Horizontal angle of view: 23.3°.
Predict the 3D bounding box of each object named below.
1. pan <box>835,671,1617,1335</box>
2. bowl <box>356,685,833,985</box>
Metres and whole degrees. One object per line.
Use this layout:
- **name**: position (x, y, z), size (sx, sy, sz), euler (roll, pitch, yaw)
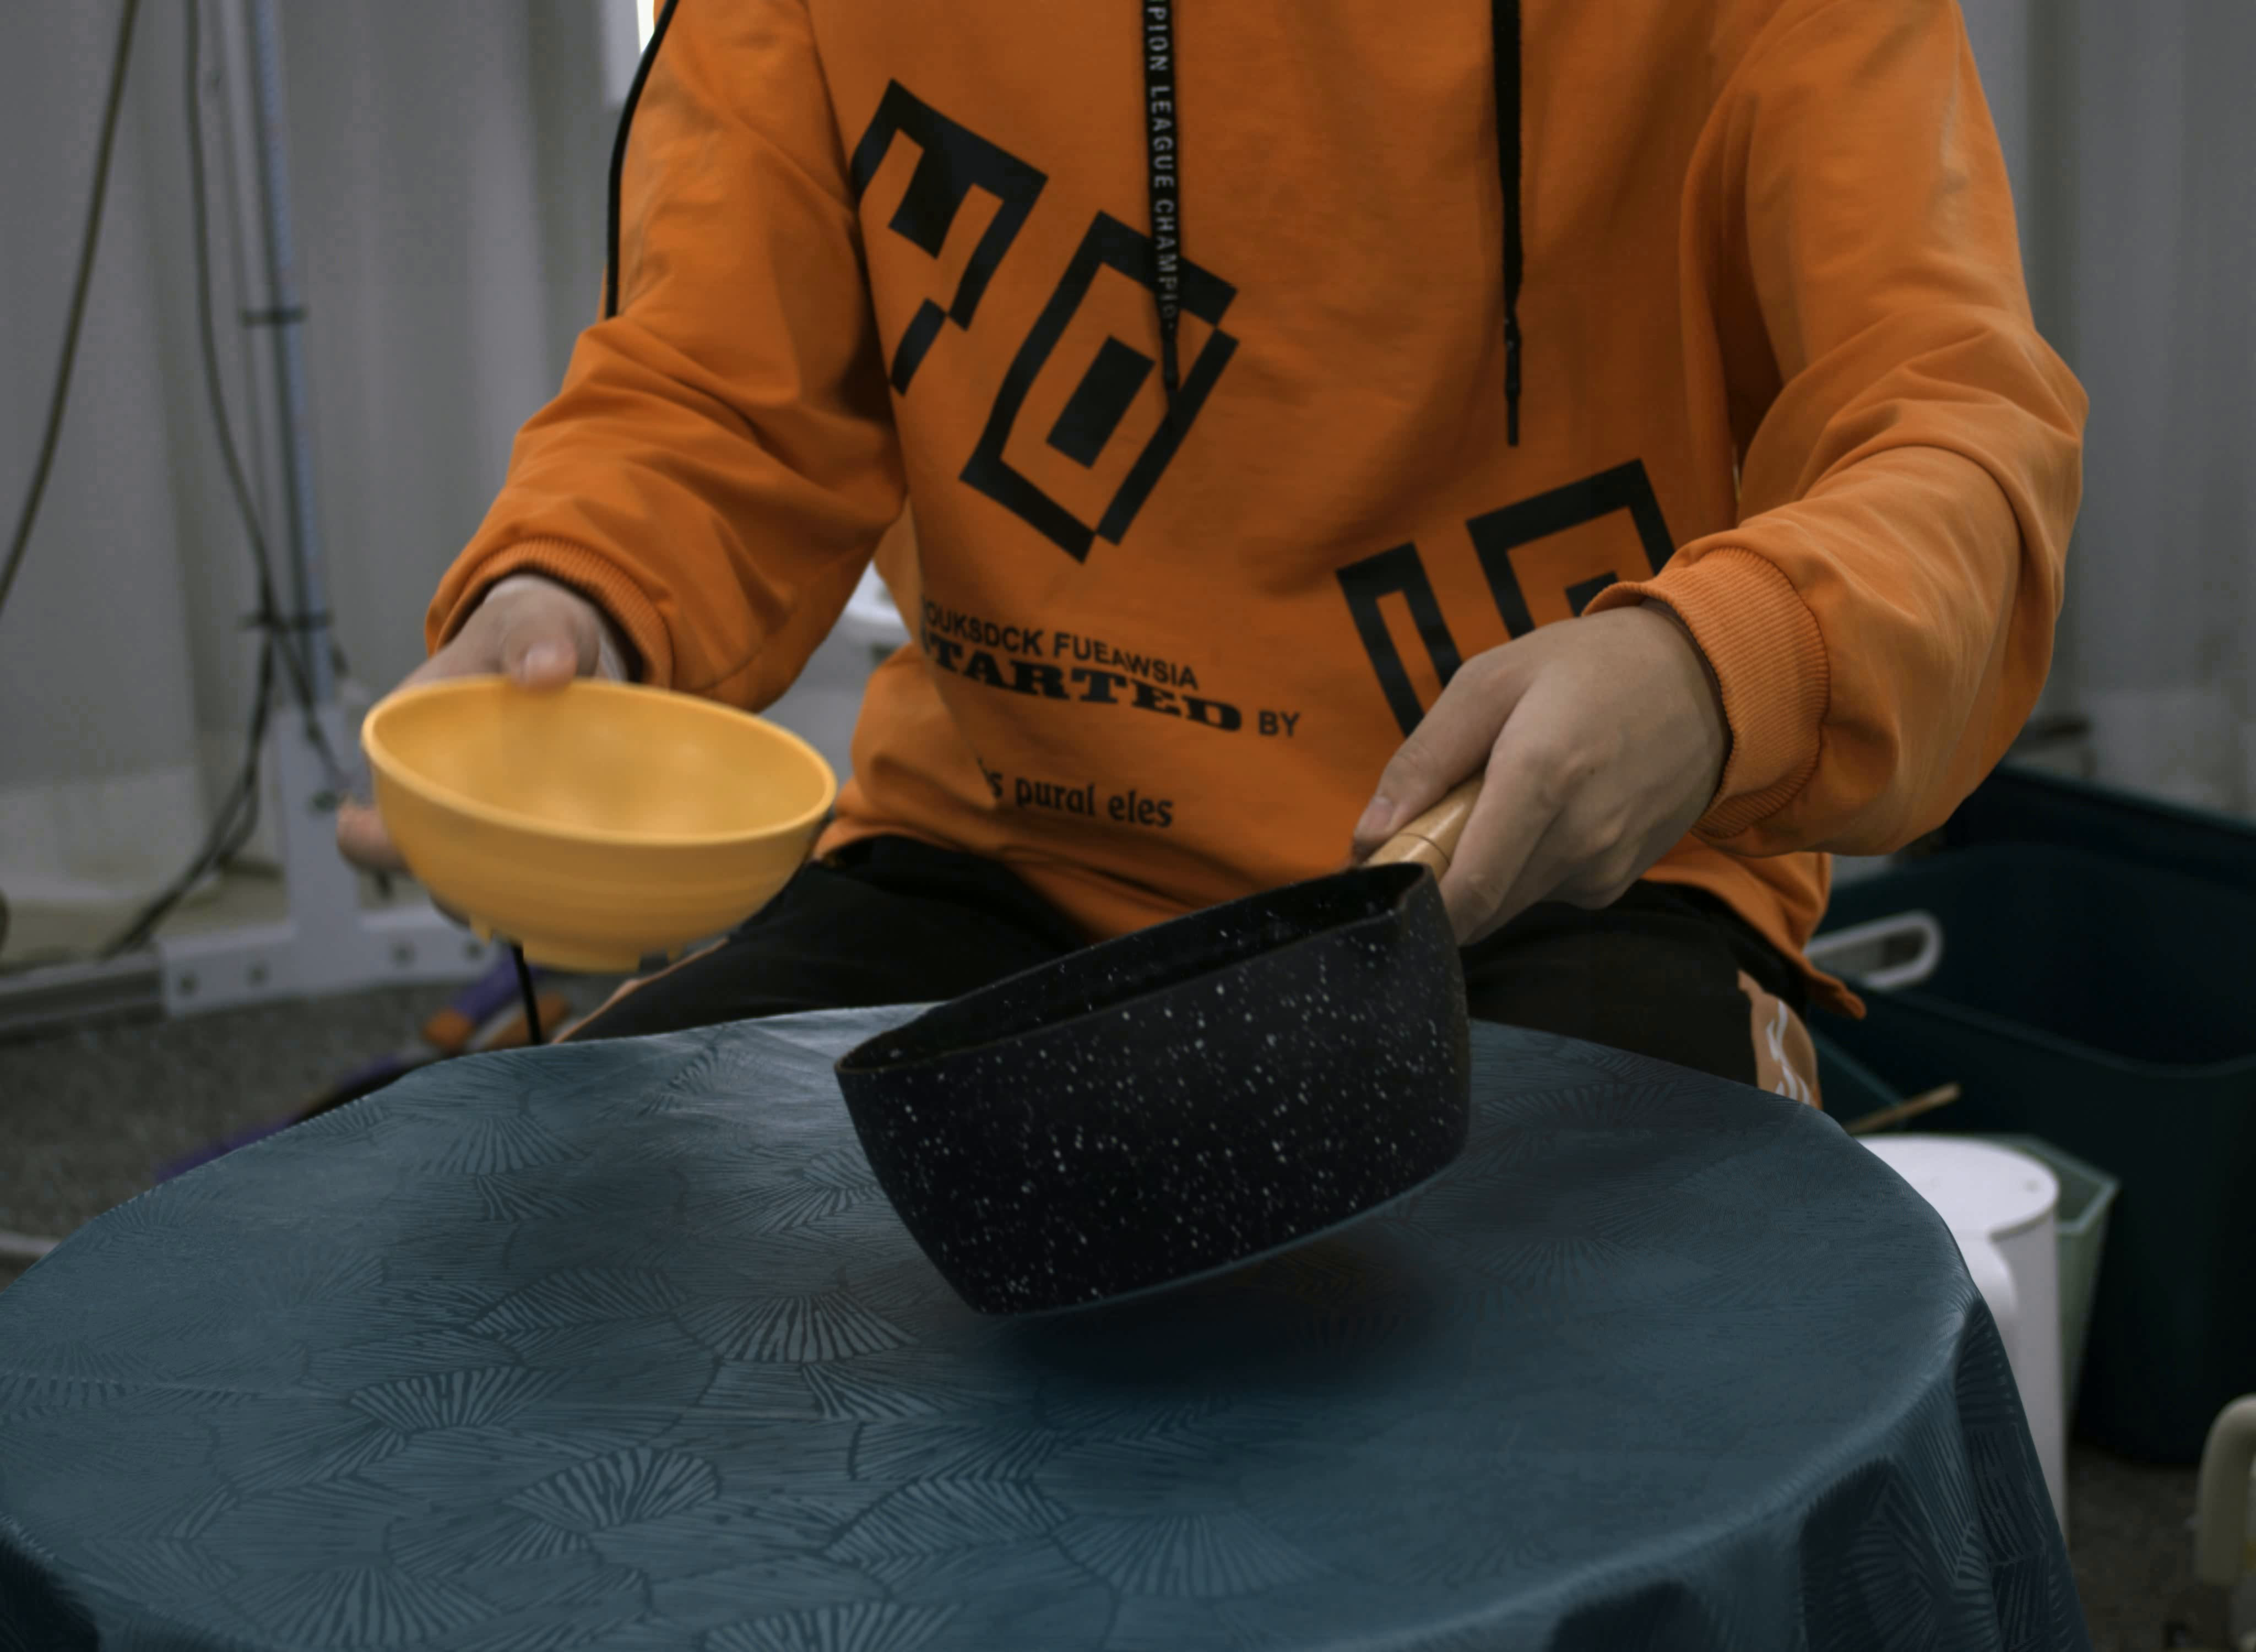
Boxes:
- **pan**: position (0.059, 0.049, 1.649), size (0.207, 0.108, 0.343), euler (-16, 6, 41)
- **bowl**: position (-0.165, 0.009, 1.660), size (0.145, 0.060, 0.146), euler (7, 19, -3)
